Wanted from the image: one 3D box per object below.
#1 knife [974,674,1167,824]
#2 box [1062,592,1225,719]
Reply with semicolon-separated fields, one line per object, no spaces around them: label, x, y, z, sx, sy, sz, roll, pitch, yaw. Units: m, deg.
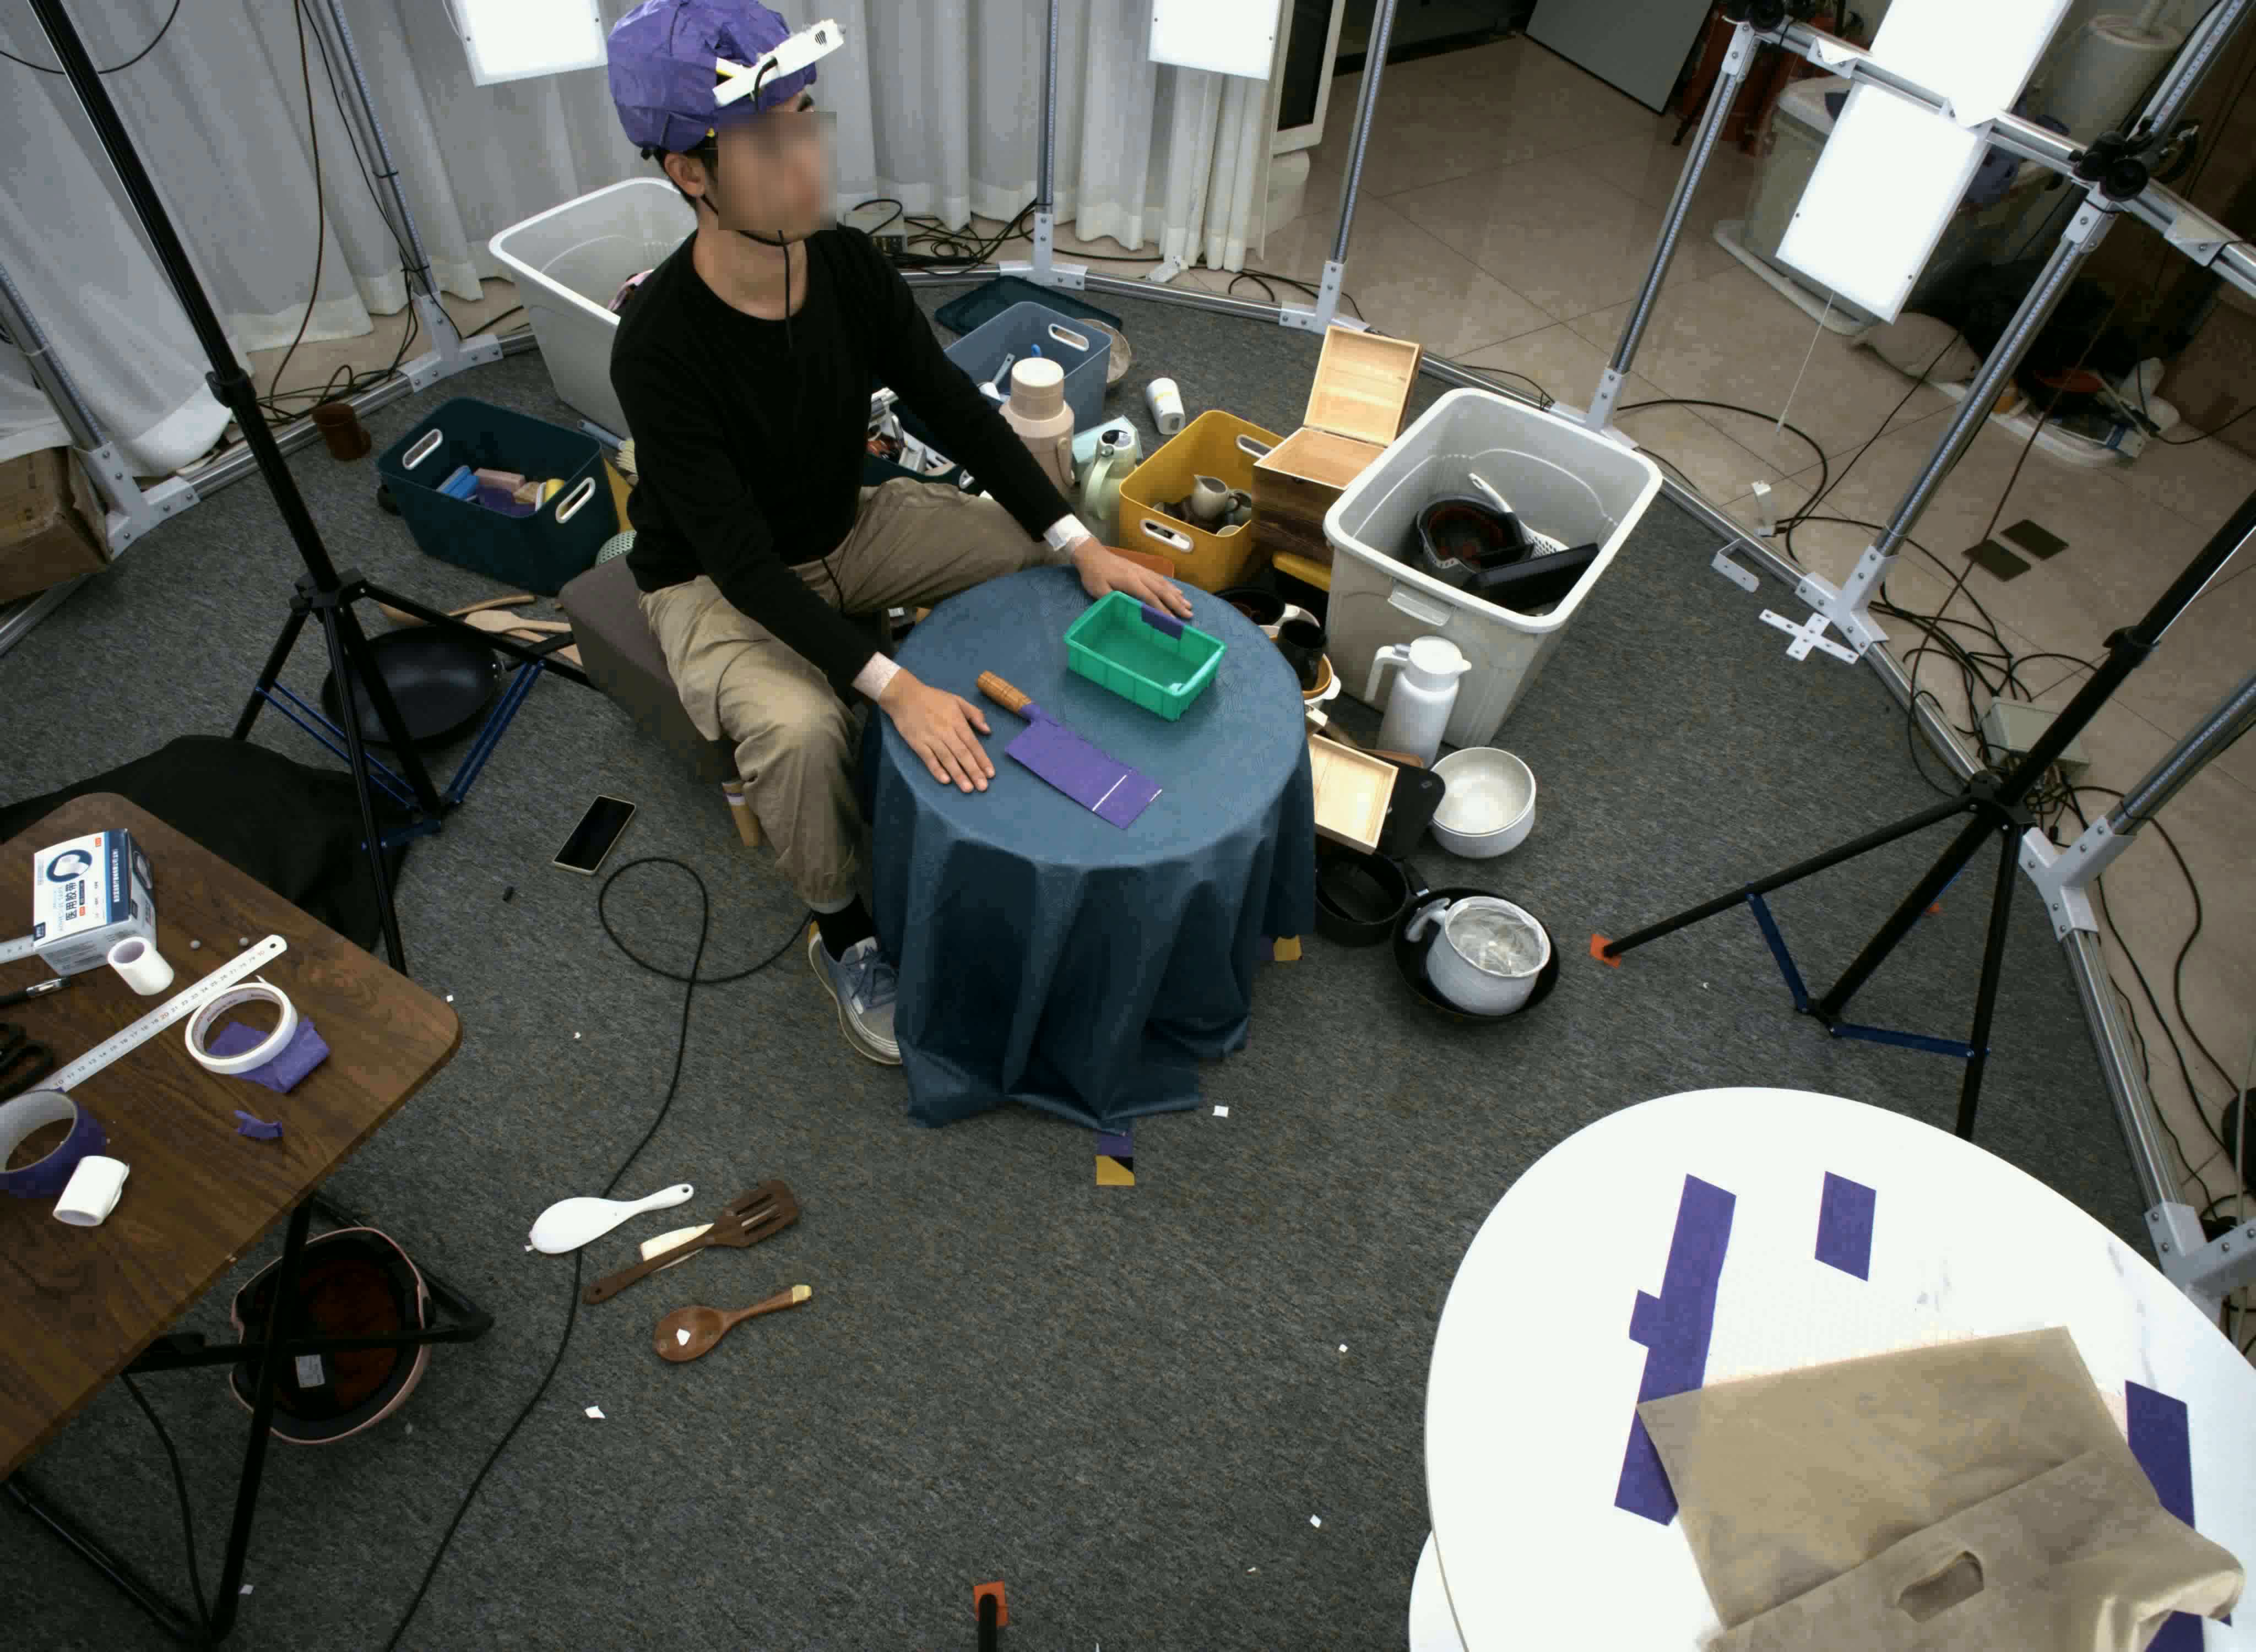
knife;-0.100;-0.107;1.739;0.319;0.031;0.105;32;54;21
box;0.021;-0.243;1.842;0.212;0.064;0.140;27;51;20
